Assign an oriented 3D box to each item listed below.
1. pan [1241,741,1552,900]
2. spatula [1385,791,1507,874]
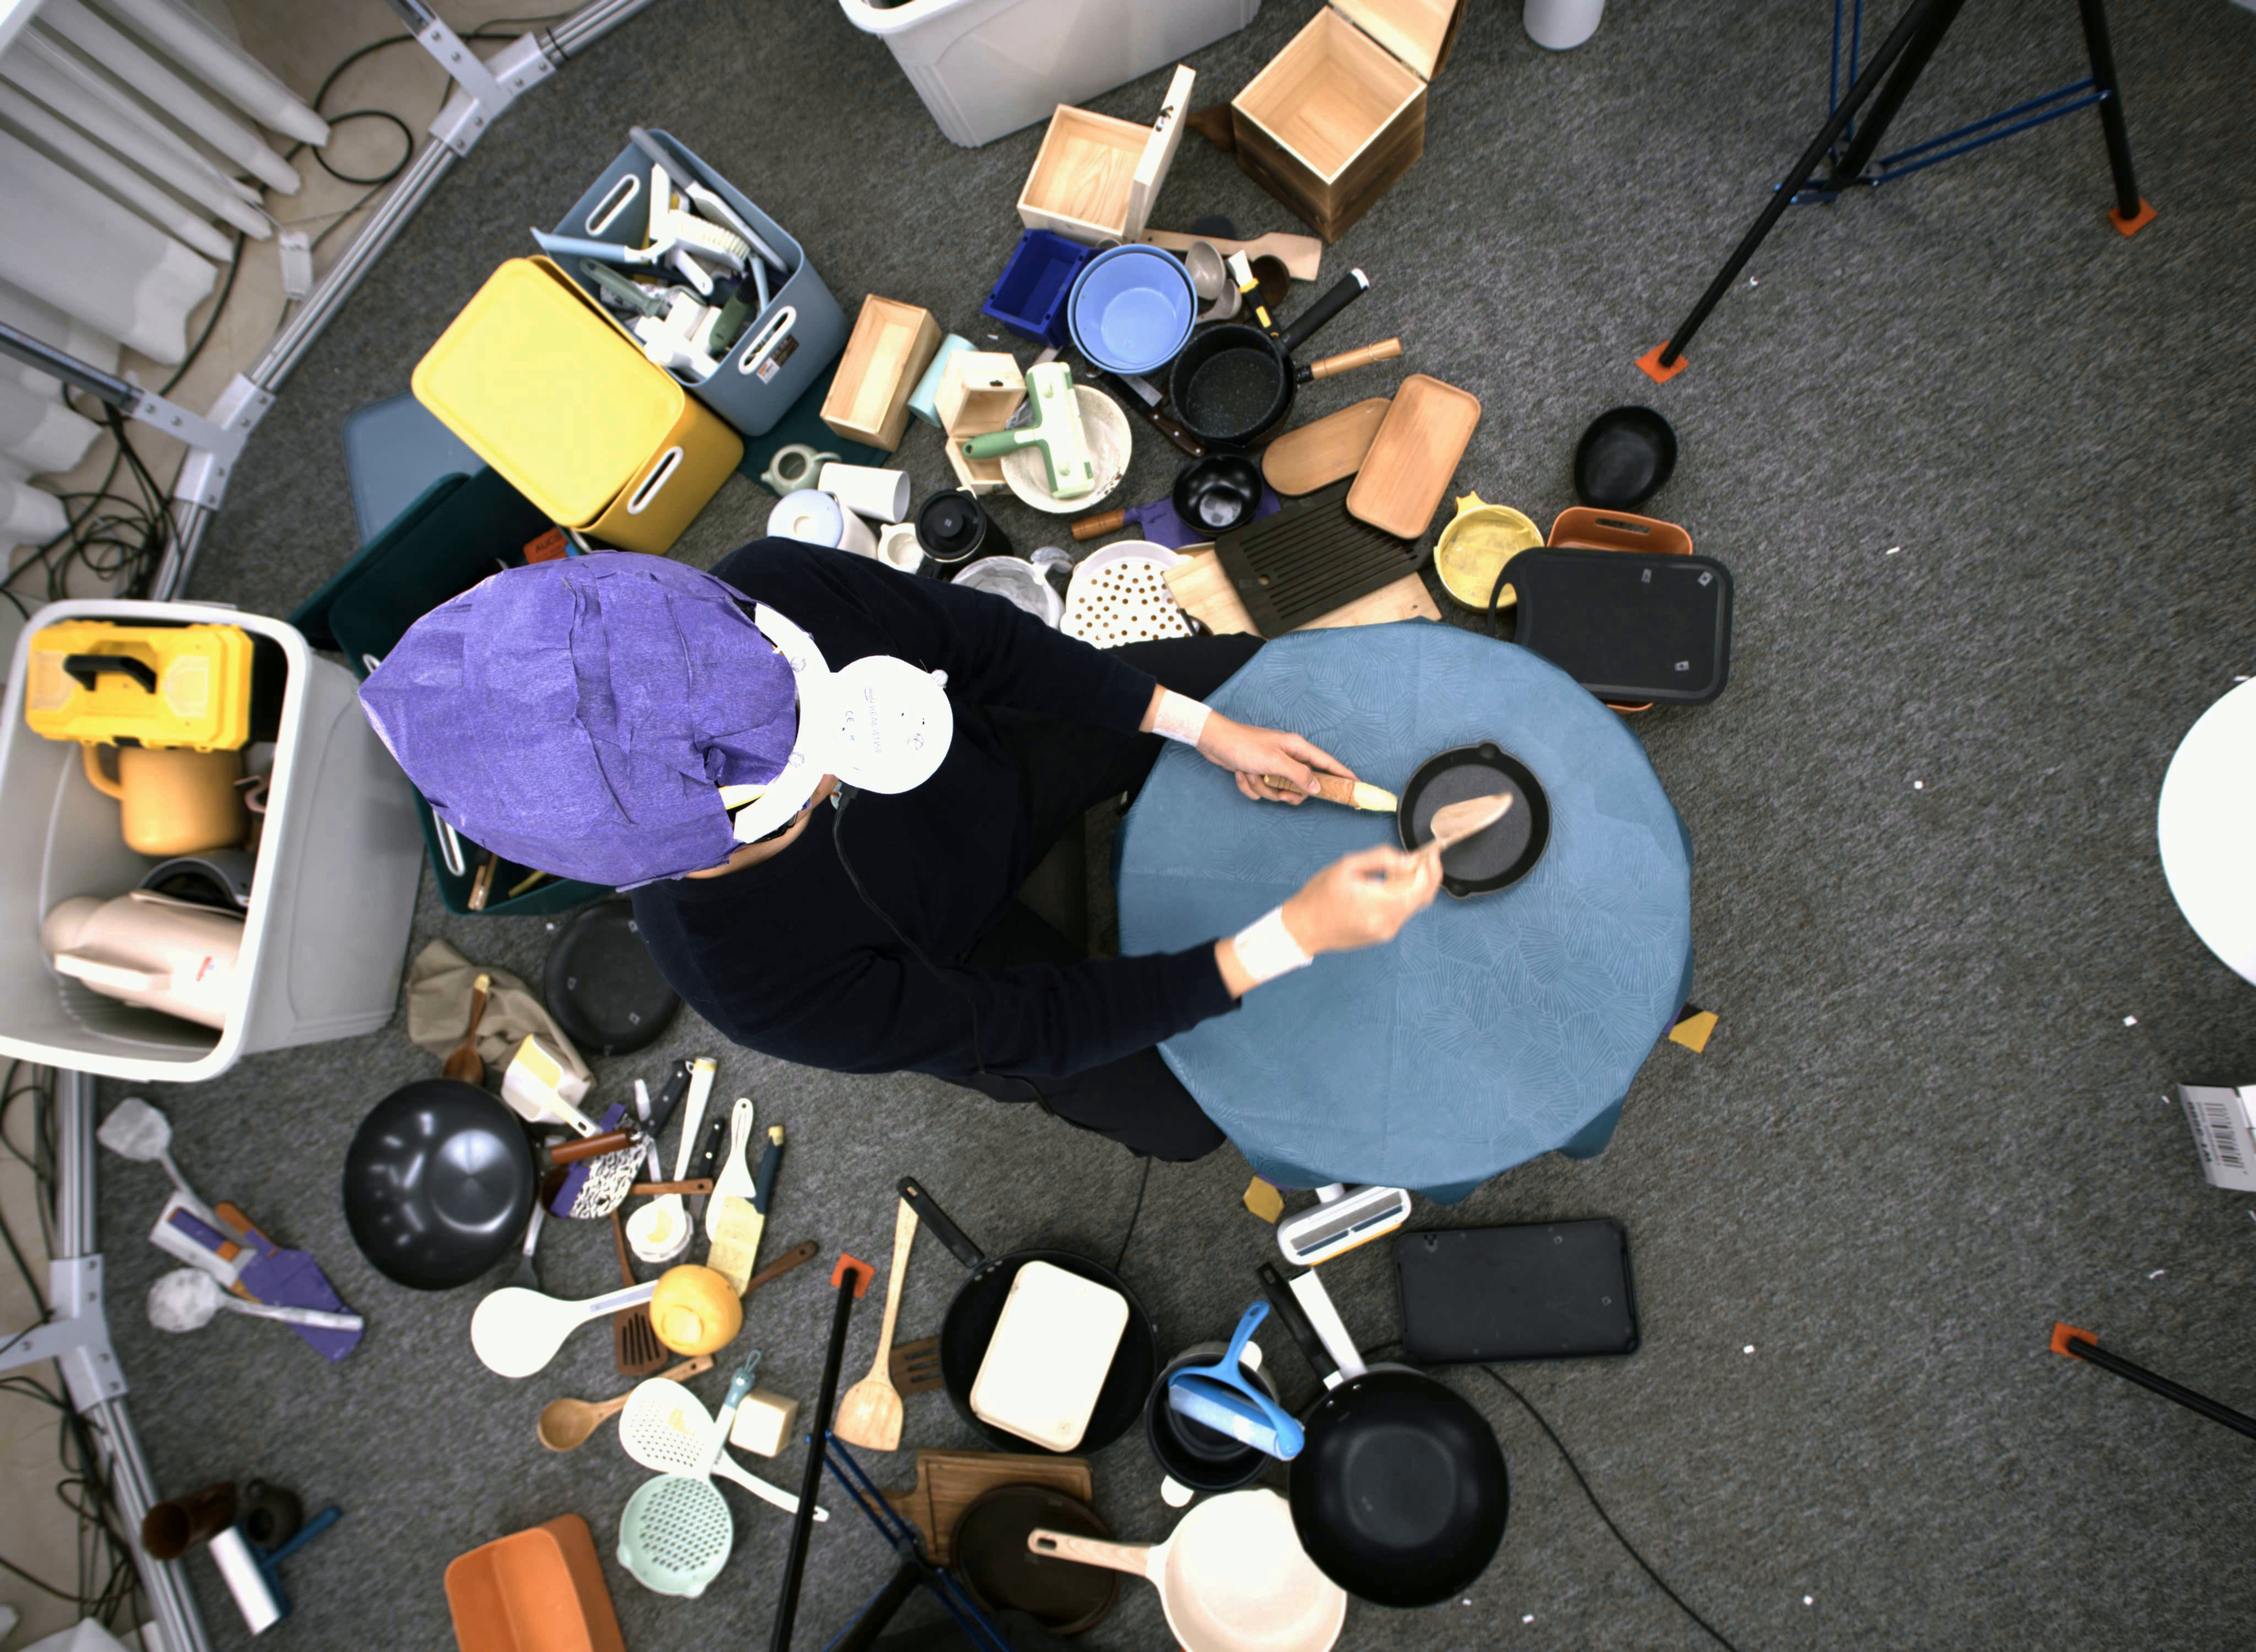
[{"bbox_3d":[0.277,-0.028,1.439,0.324,0.049,0.168,15,89,10],"label":"pan"},{"bbox_3d":[0.288,0.004,1.280,0.081,0.323,0.016,-14,94,27],"label":"spatula"}]
